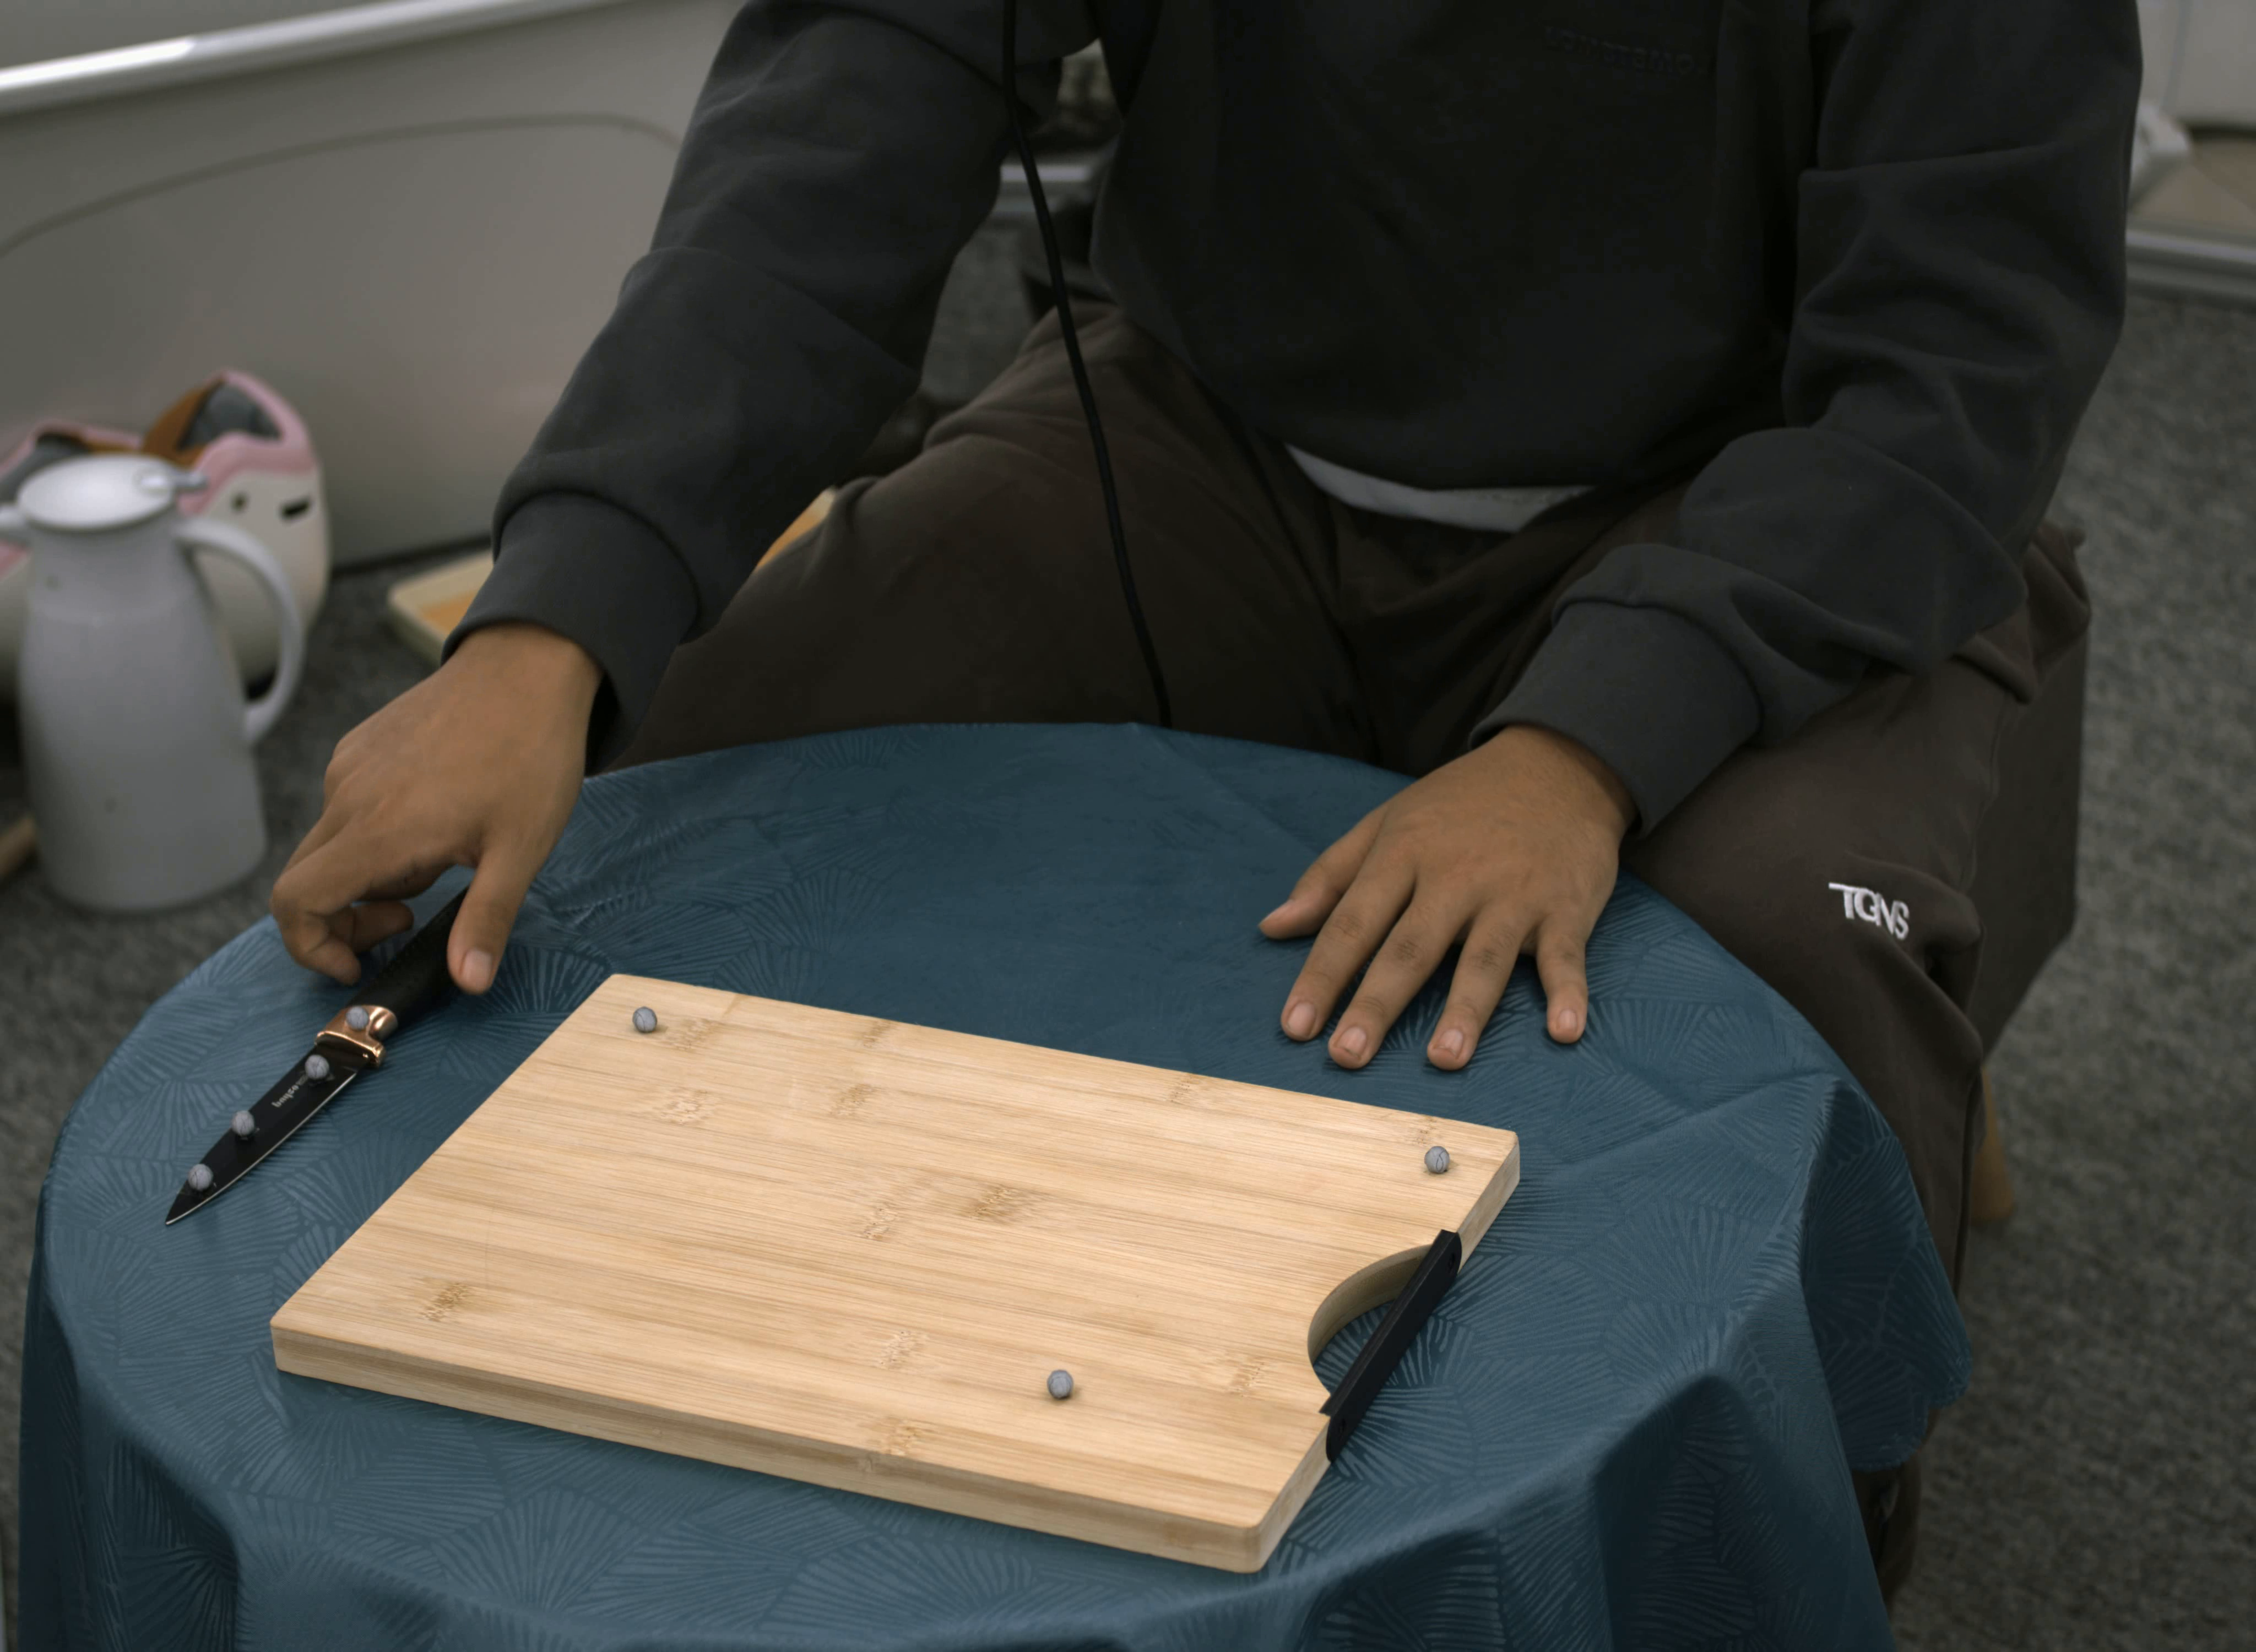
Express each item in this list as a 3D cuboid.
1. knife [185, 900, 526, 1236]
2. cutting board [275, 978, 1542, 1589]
[{"bbox_3d":[-0.270,0.083,1.953,0.026,0.017,0.229,15,33,19],"label":"knife"},{"bbox_3d":[-0.067,0.140,1.818,0.346,0.023,0.255,8,30,21],"label":"cutting board"}]
